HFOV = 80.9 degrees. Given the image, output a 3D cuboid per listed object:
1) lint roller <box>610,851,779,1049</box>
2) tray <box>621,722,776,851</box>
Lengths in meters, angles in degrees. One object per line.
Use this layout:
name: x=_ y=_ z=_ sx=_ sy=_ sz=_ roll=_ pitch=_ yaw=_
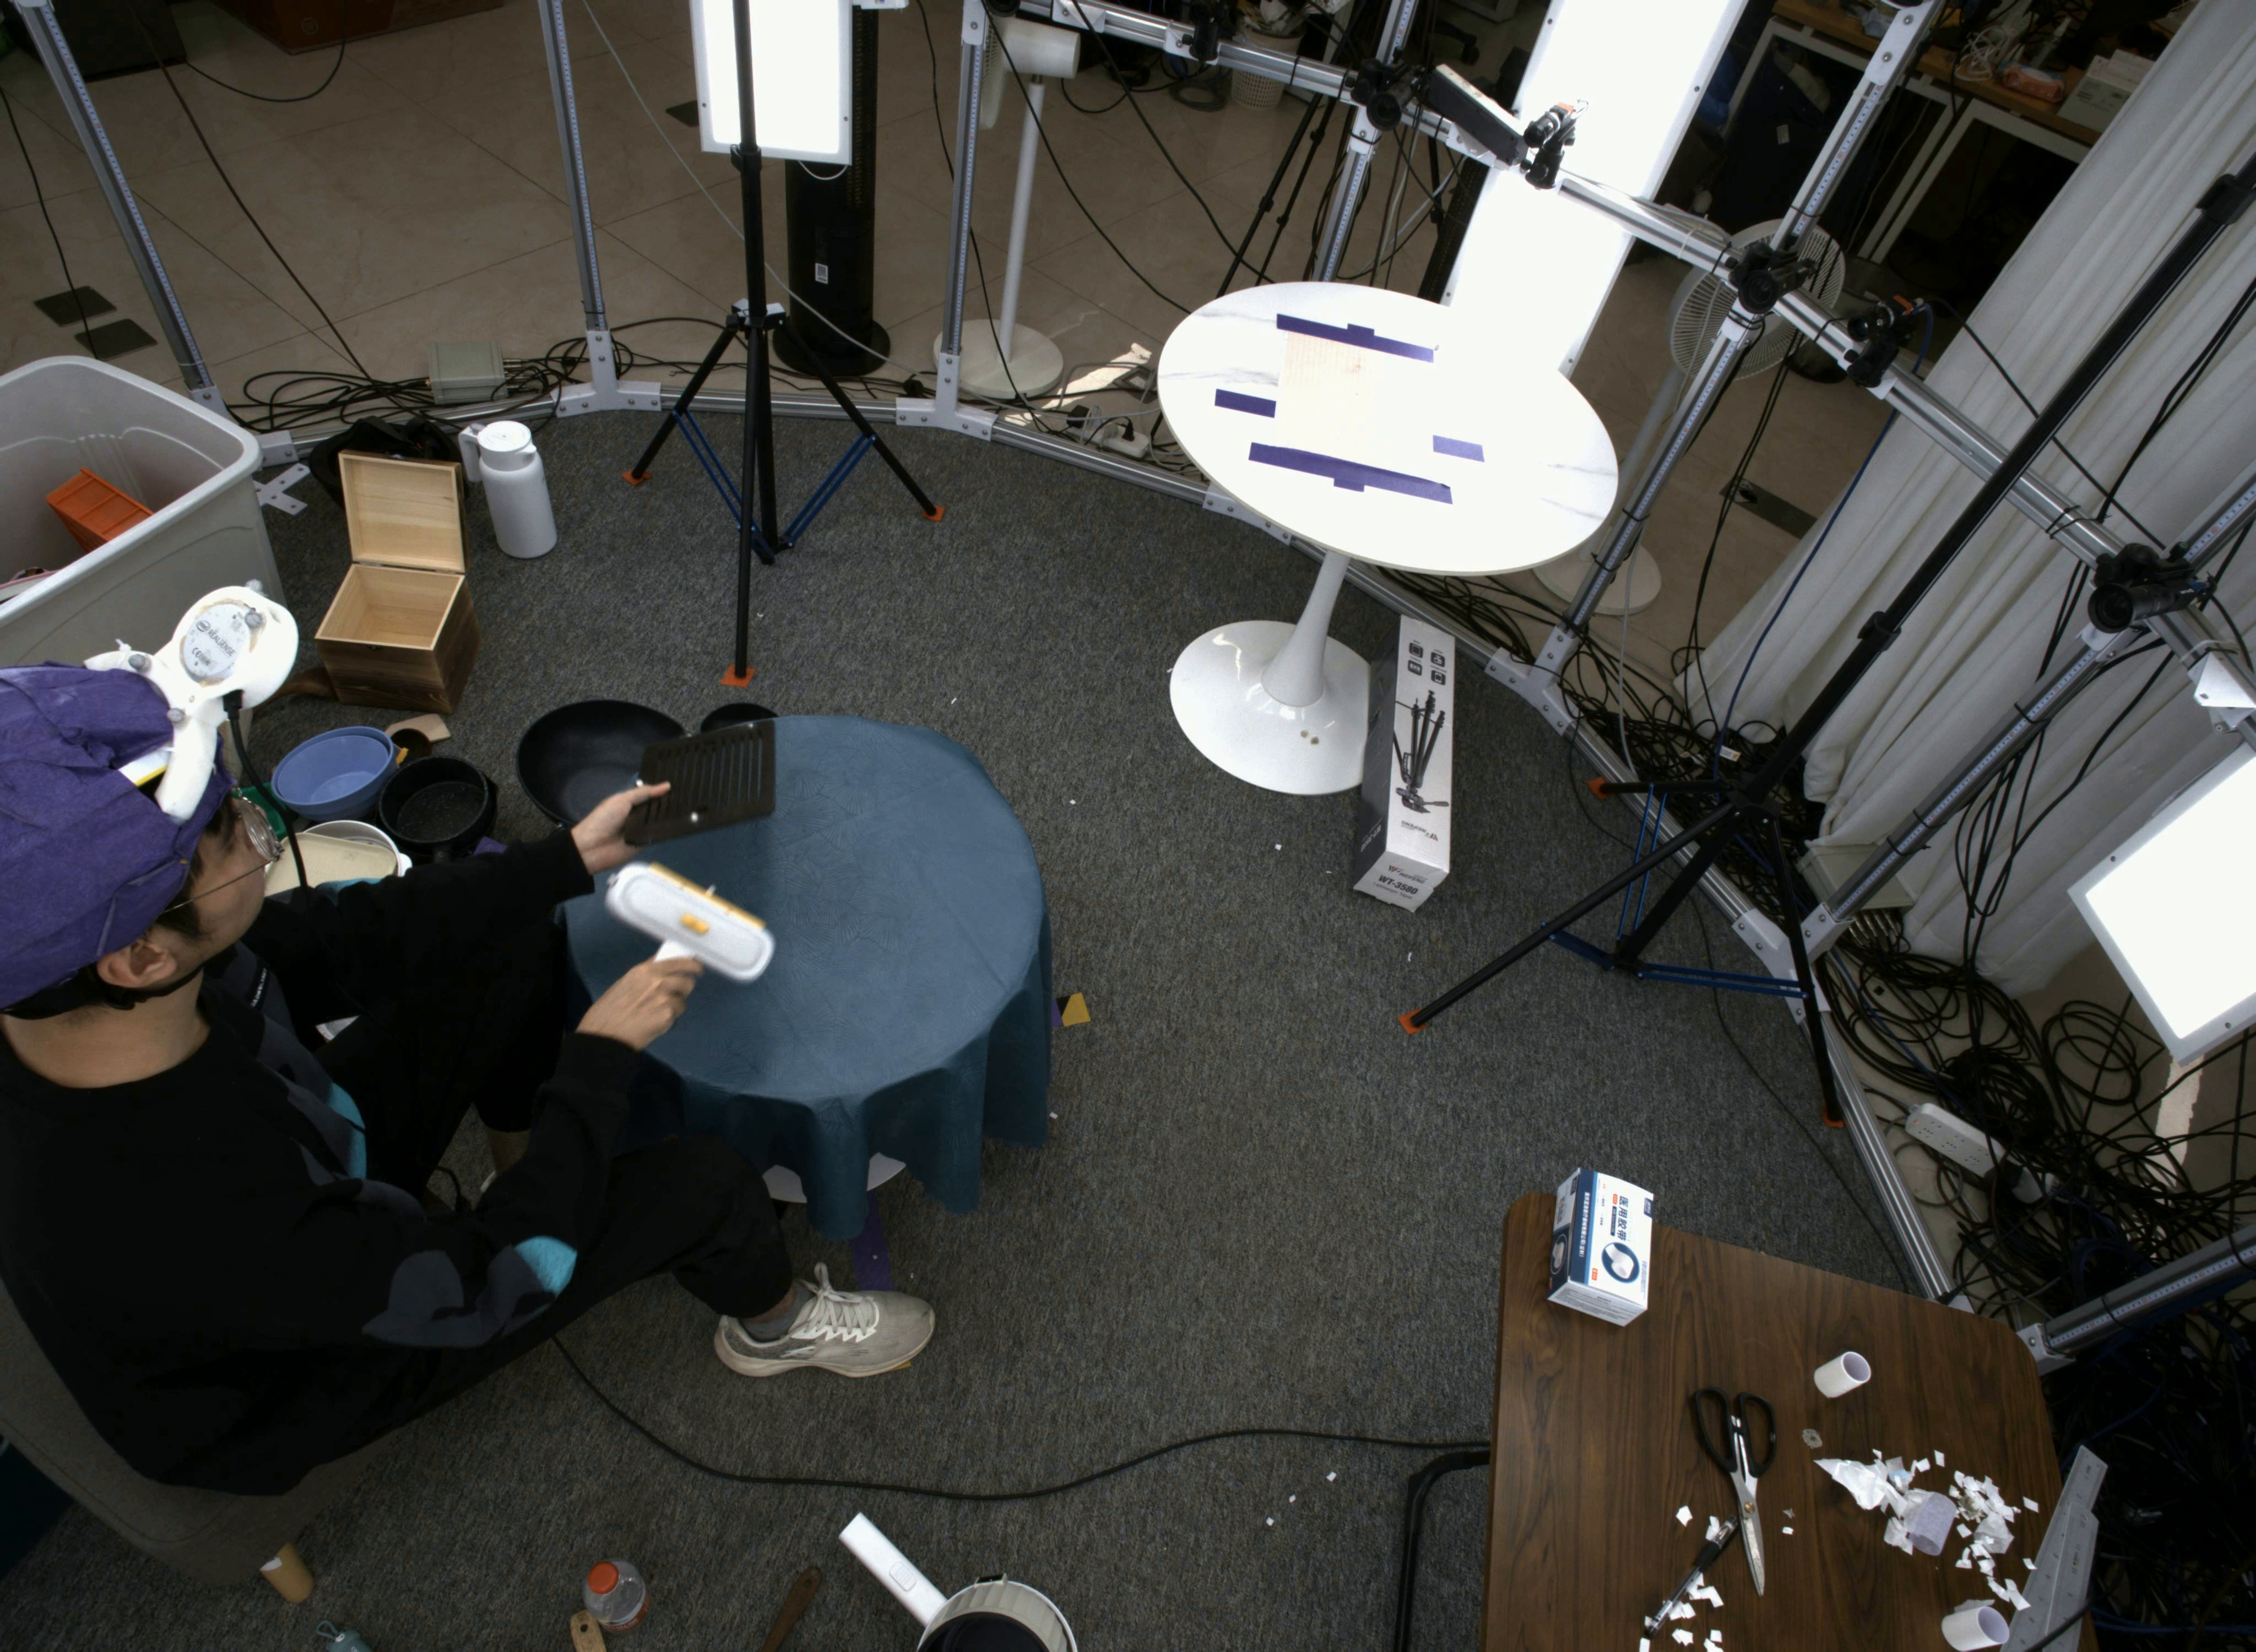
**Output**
lint roller: x=-0.494 y=0.146 z=1.399 sx=0.198 sy=0.072 sz=0.192 roll=32 pitch=70 yaw=-29
tray: x=-0.509 y=-0.052 z=1.550 sx=0.169 sy=0.019 sz=0.297 roll=-12 pitch=27 yaw=-9
